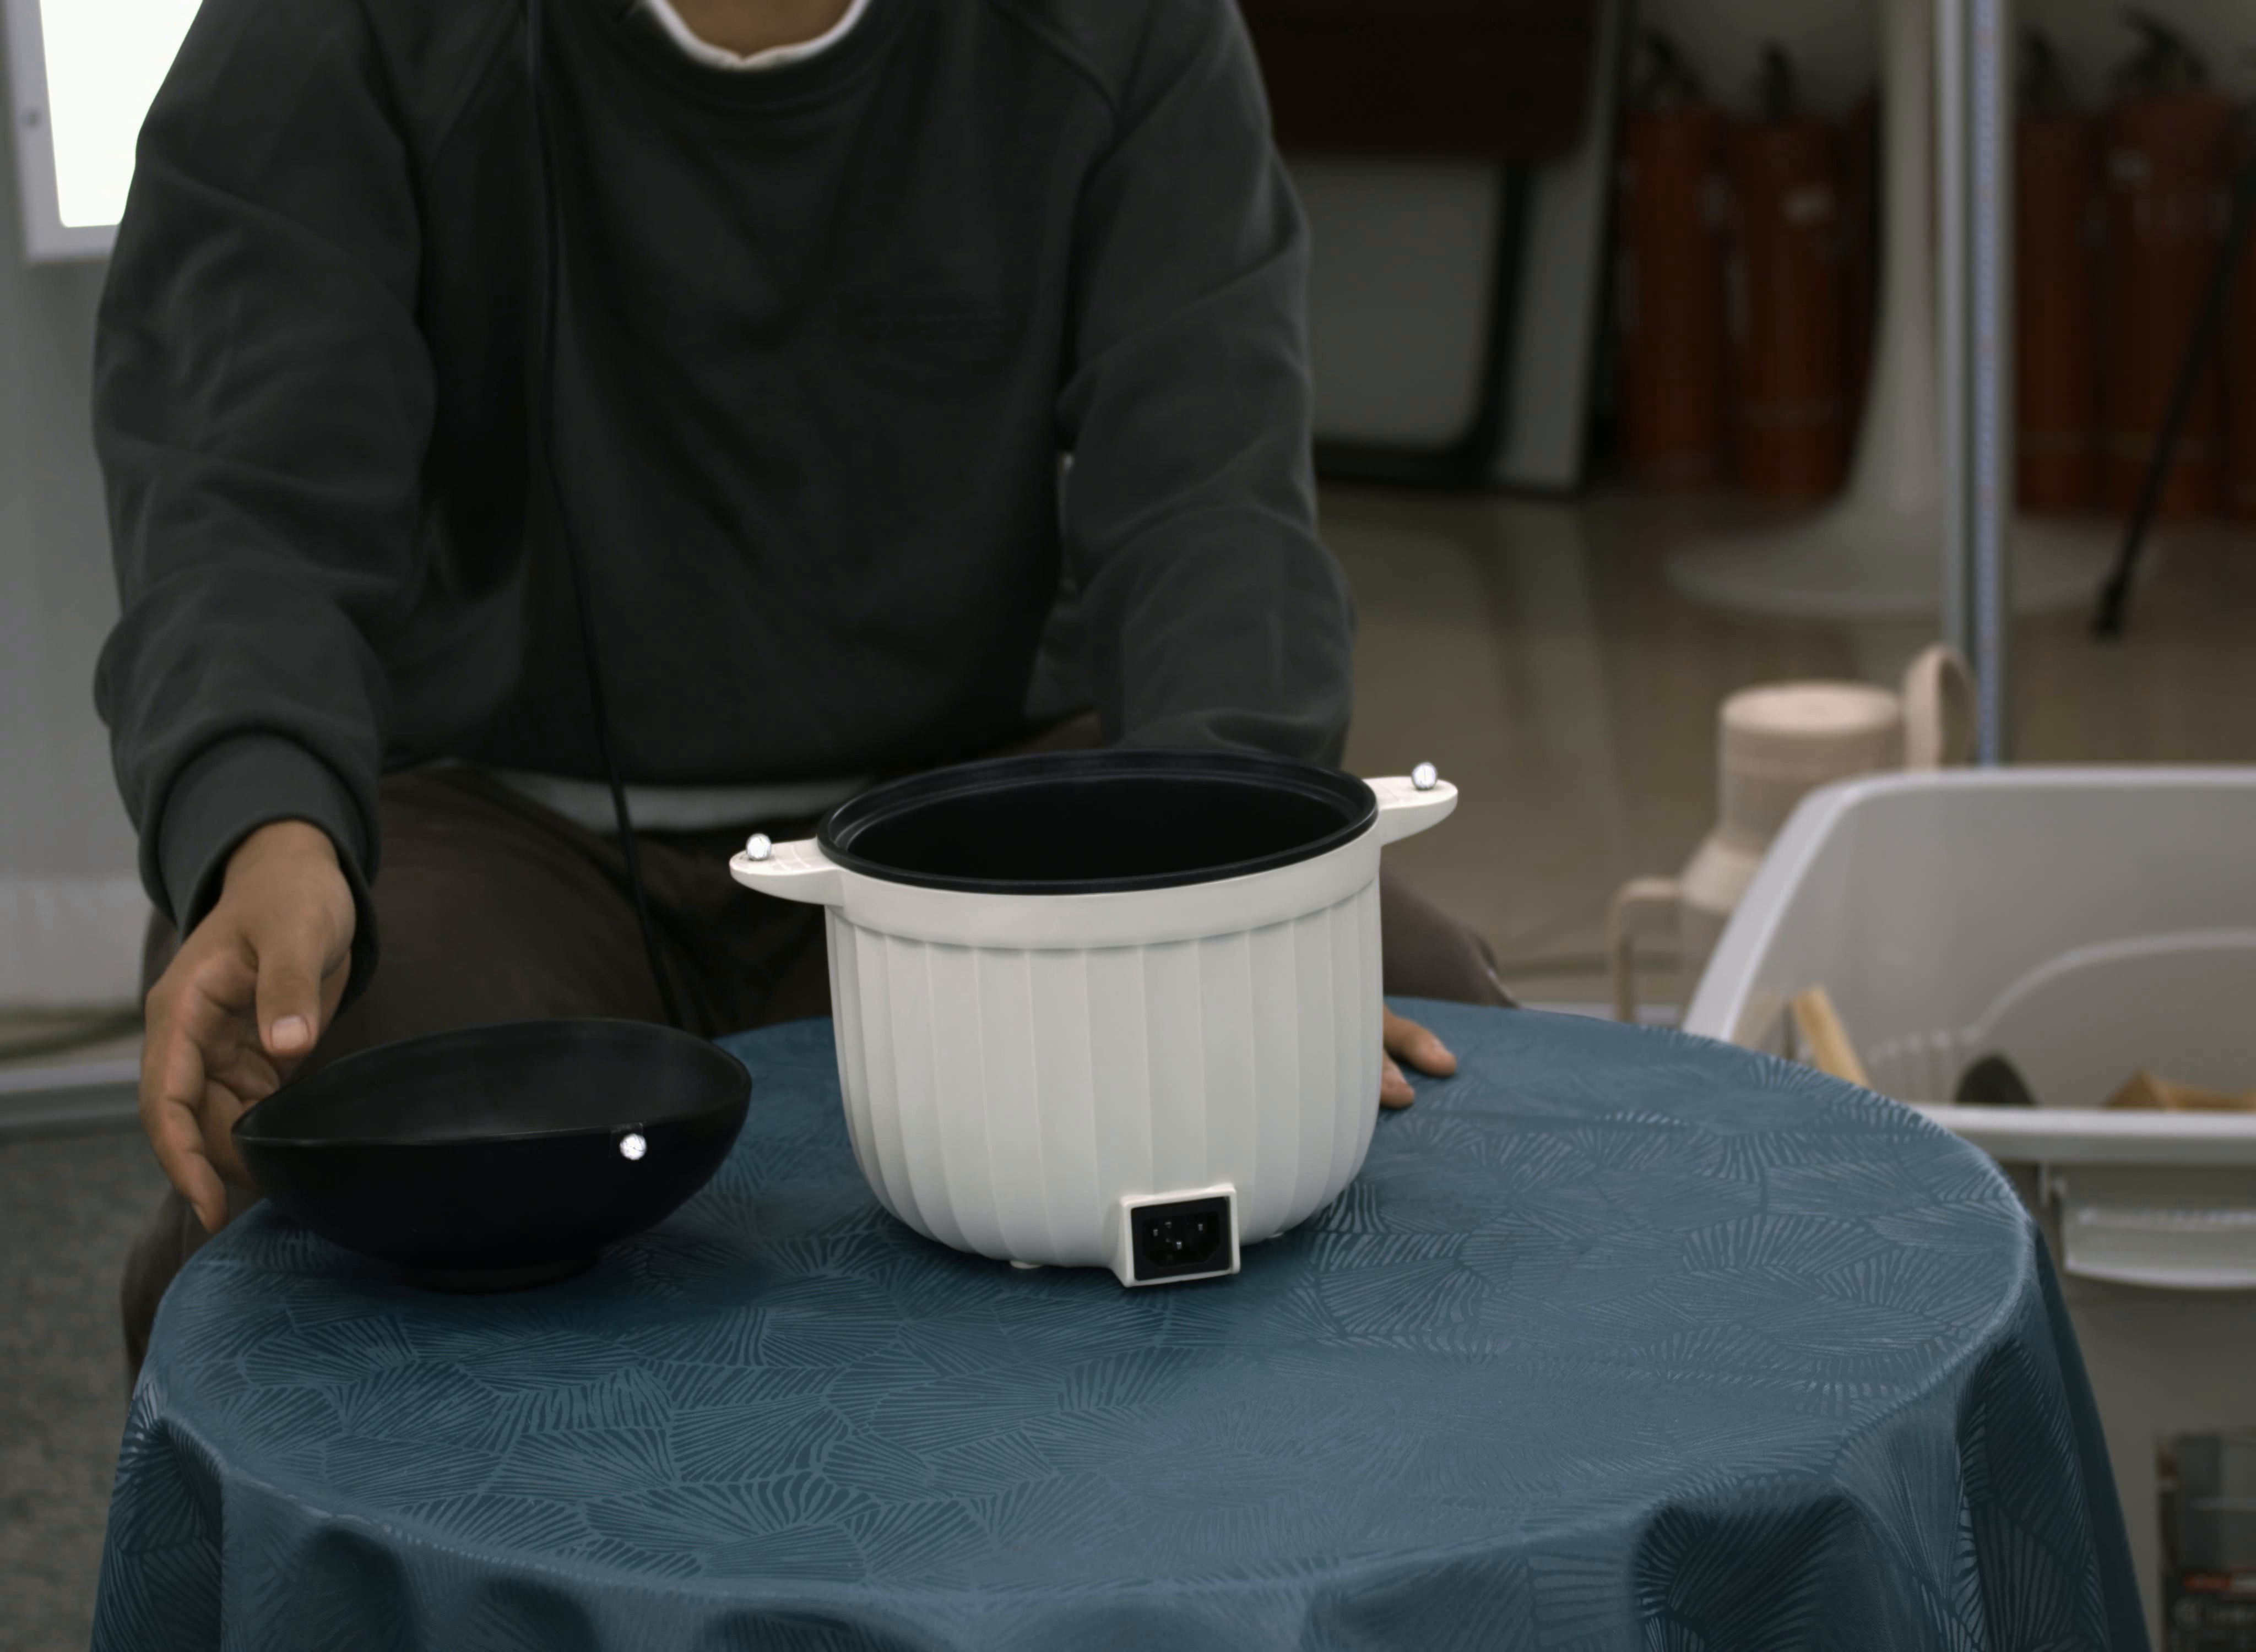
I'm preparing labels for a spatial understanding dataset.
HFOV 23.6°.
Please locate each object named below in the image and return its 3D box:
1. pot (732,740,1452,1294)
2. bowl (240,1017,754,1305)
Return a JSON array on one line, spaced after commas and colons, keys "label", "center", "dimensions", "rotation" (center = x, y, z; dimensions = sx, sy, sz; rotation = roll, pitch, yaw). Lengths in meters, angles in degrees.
[{"label": "pot", "center": [-0.009, 0.059, 1.741], "dimensions": [0.236, 0.144, 0.192], "rotation": [-6, 17, -13]}, {"label": "bowl", "center": [-0.201, 0.112, 1.734], "dimensions": [0.169, 0.067, 0.137], "rotation": [-4, 13, 8]}]
